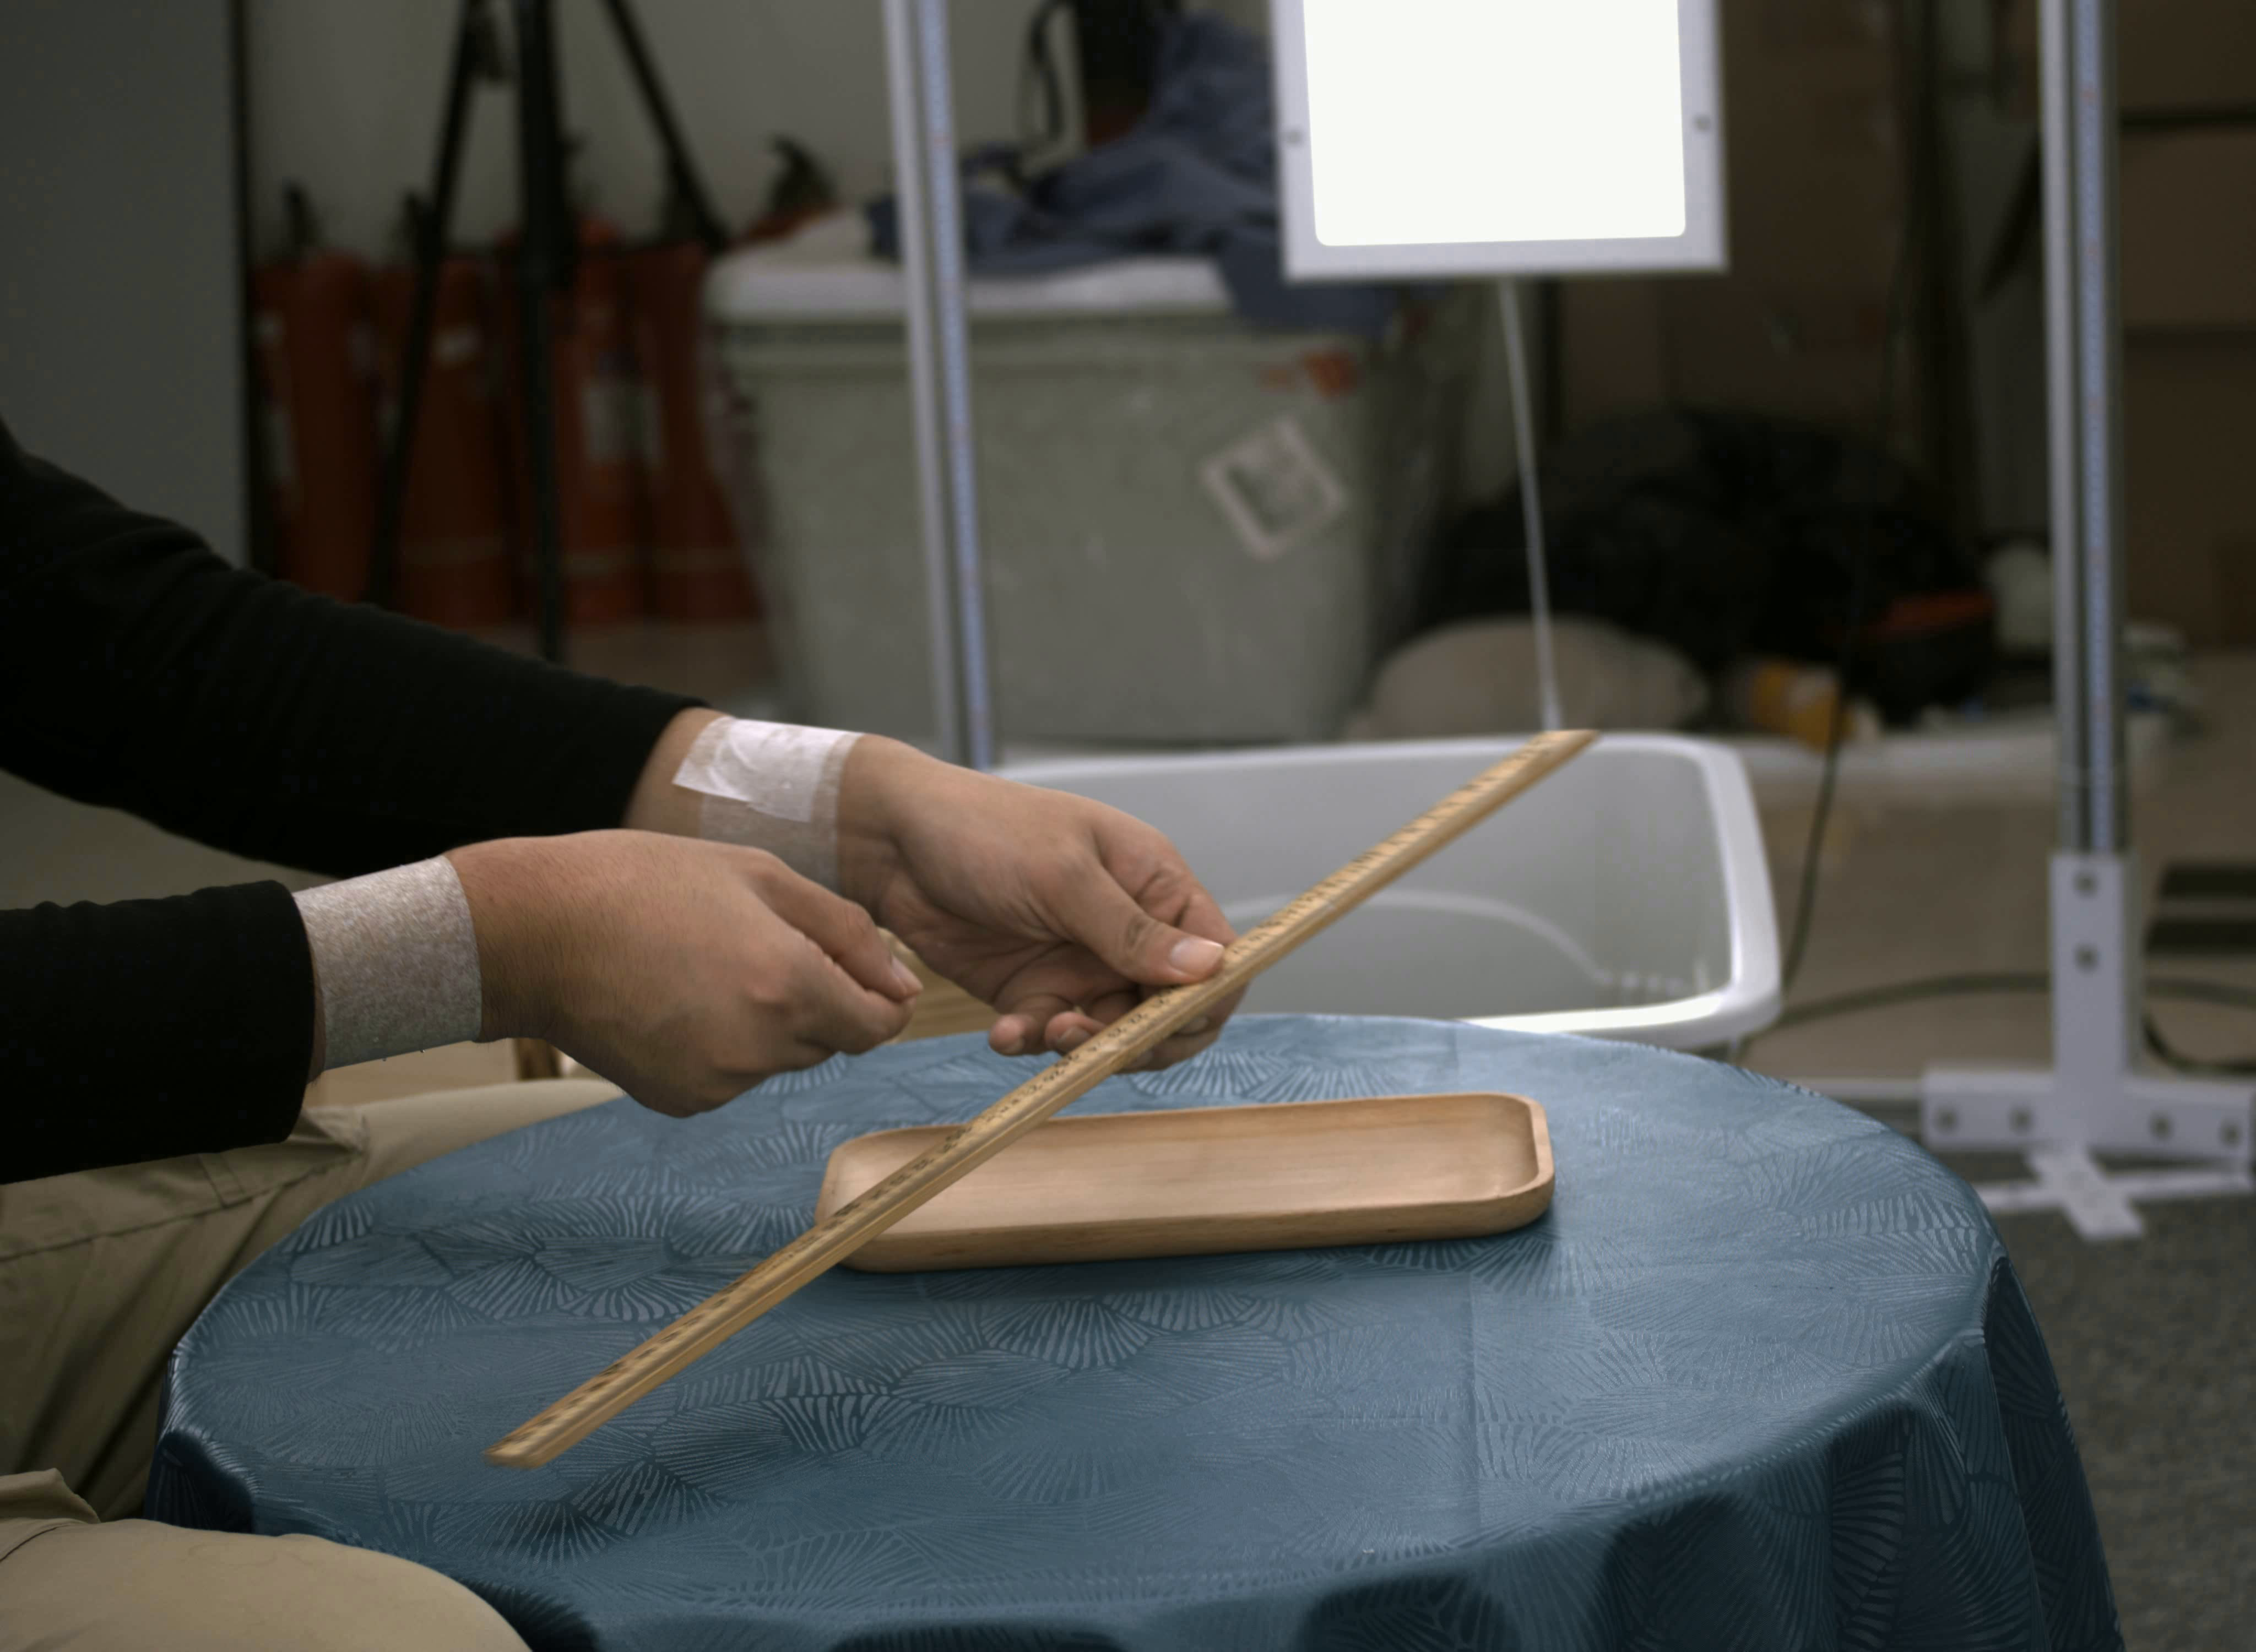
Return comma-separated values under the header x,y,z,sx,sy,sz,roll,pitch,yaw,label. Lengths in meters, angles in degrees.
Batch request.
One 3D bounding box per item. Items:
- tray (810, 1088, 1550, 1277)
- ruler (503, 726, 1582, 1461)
x,y,z,sx,sy,sz,roll,pitch,yaw,label
0.019,0.122,1.880,0.251,0.023,0.130,-5,12,6,tray
-0.014,0.076,1.761,0.489,0.006,0.027,-34,18,-37,ruler
